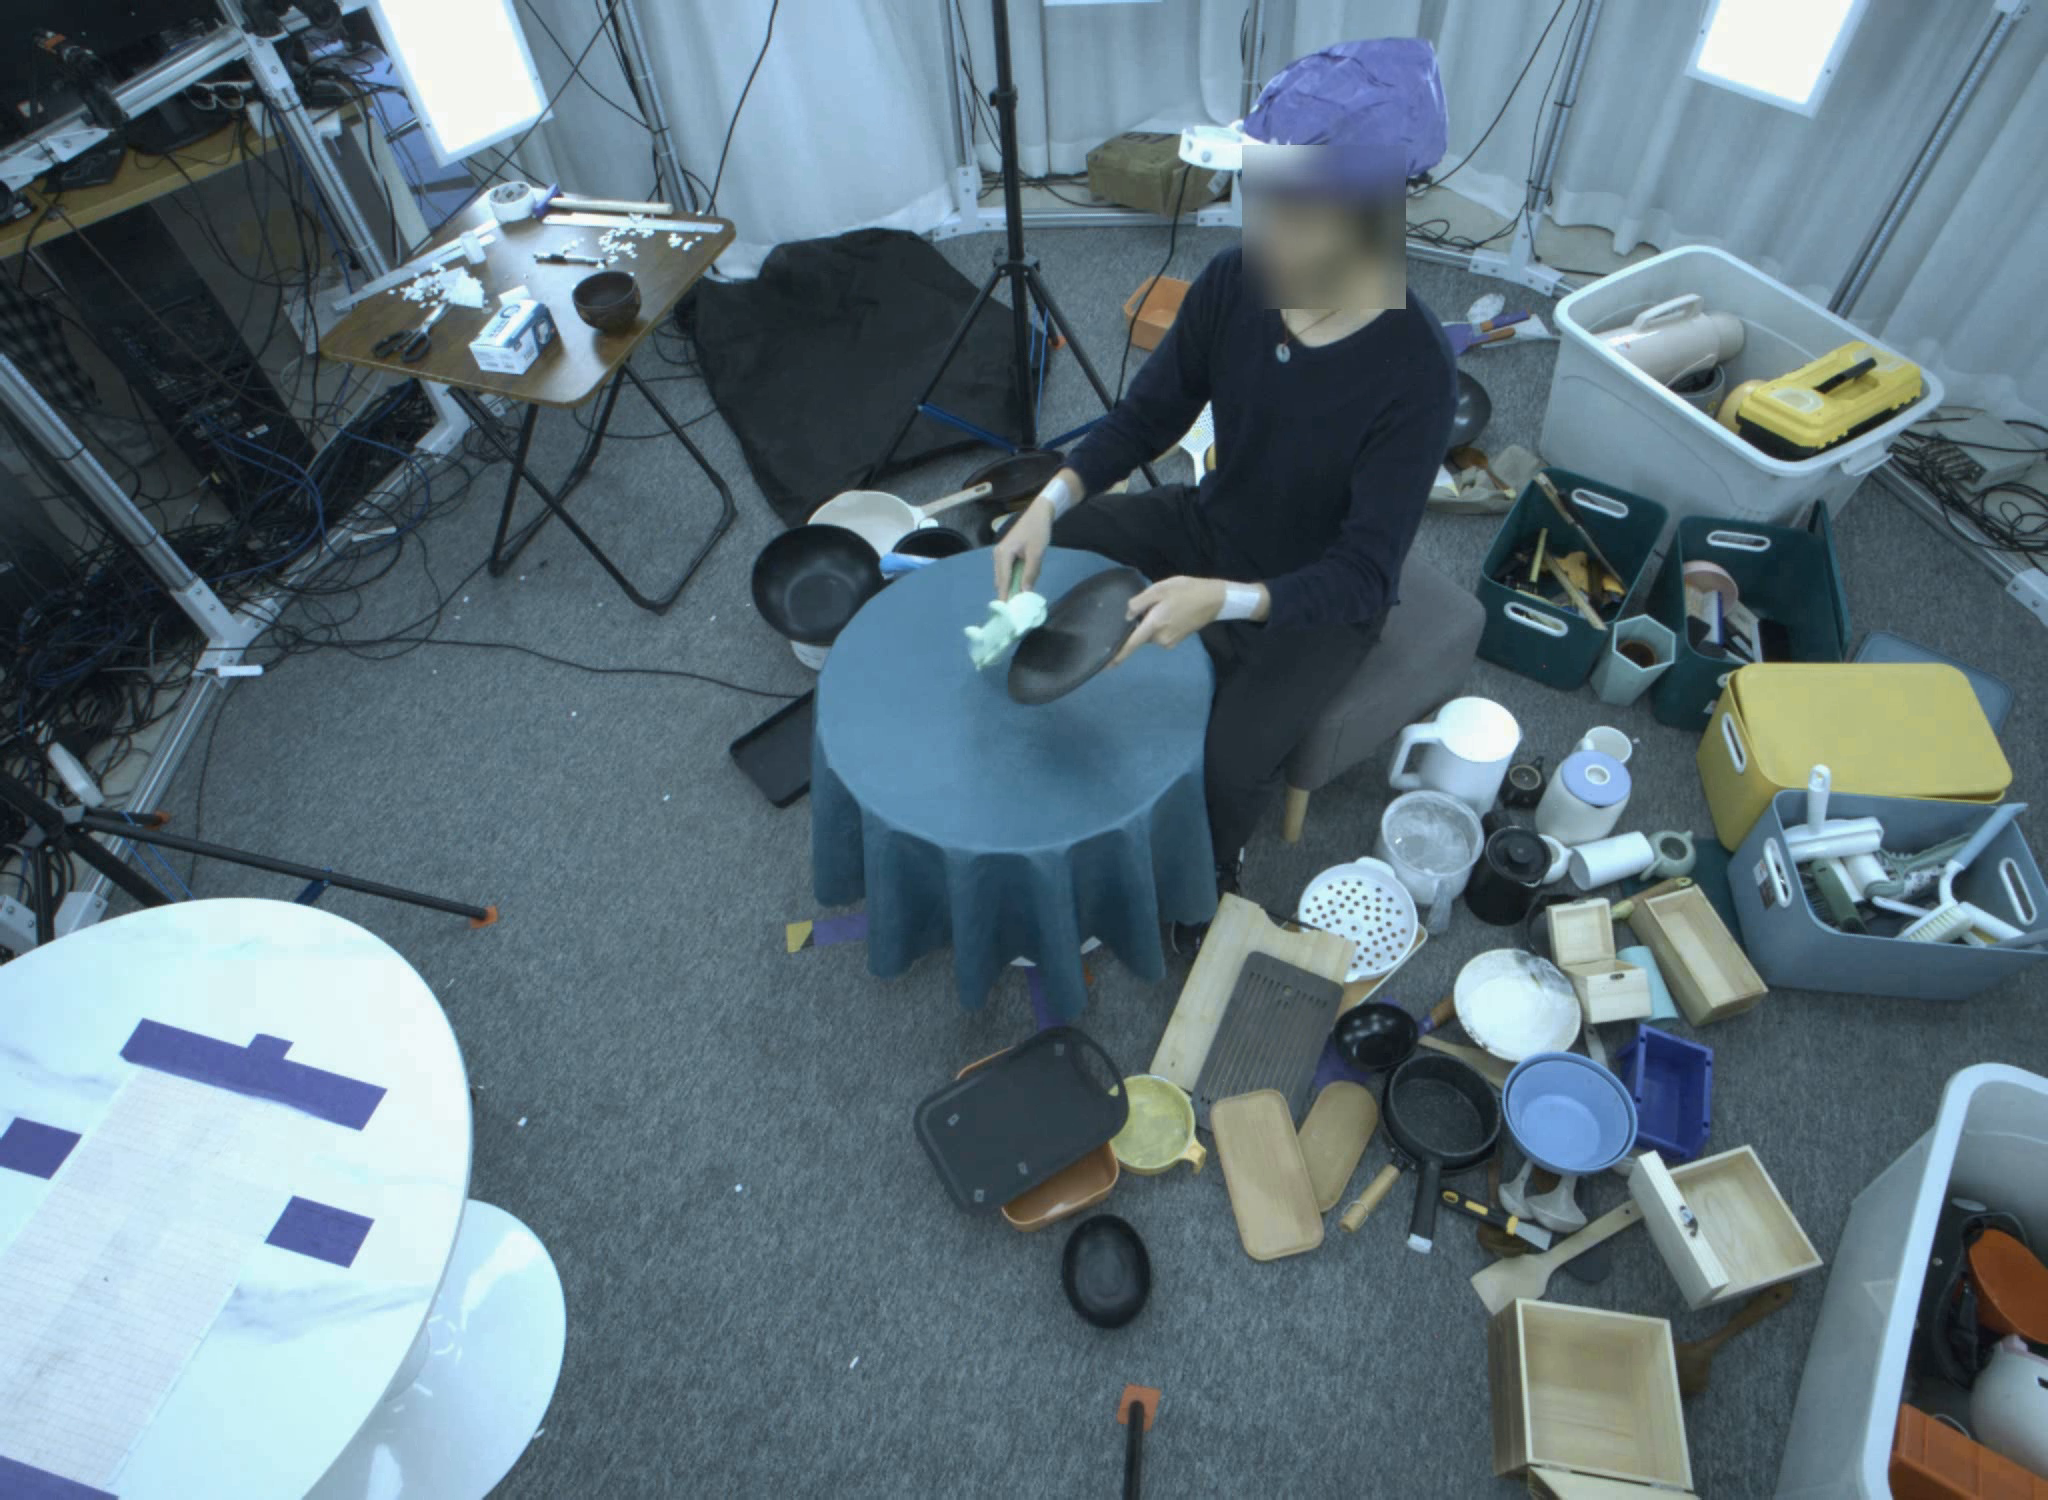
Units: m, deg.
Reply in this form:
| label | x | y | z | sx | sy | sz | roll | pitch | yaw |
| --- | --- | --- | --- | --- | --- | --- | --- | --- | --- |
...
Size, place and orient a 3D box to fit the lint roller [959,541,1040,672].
| label | x | y | z | sx | sy | sz | roll | pitch | yaw |
| --- | --- | --- | --- | --- | --- | --- | --- | --- | --- |
| lint roller | -0.036 | -0.224 | 1.774 | 0.083 | 0.196 | 0.182 | 8 | 75 | -19 |

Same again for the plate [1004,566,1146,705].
| label | x | y | z | sx | sy | sz | roll | pitch | yaw |
| --- | --- | --- | --- | --- | --- | --- | --- | --- | --- |
| plate | 0.071 | -0.150 | 1.658 | 0.242 | 0.024 | 0.242 | -32 | 32 | 25 |
